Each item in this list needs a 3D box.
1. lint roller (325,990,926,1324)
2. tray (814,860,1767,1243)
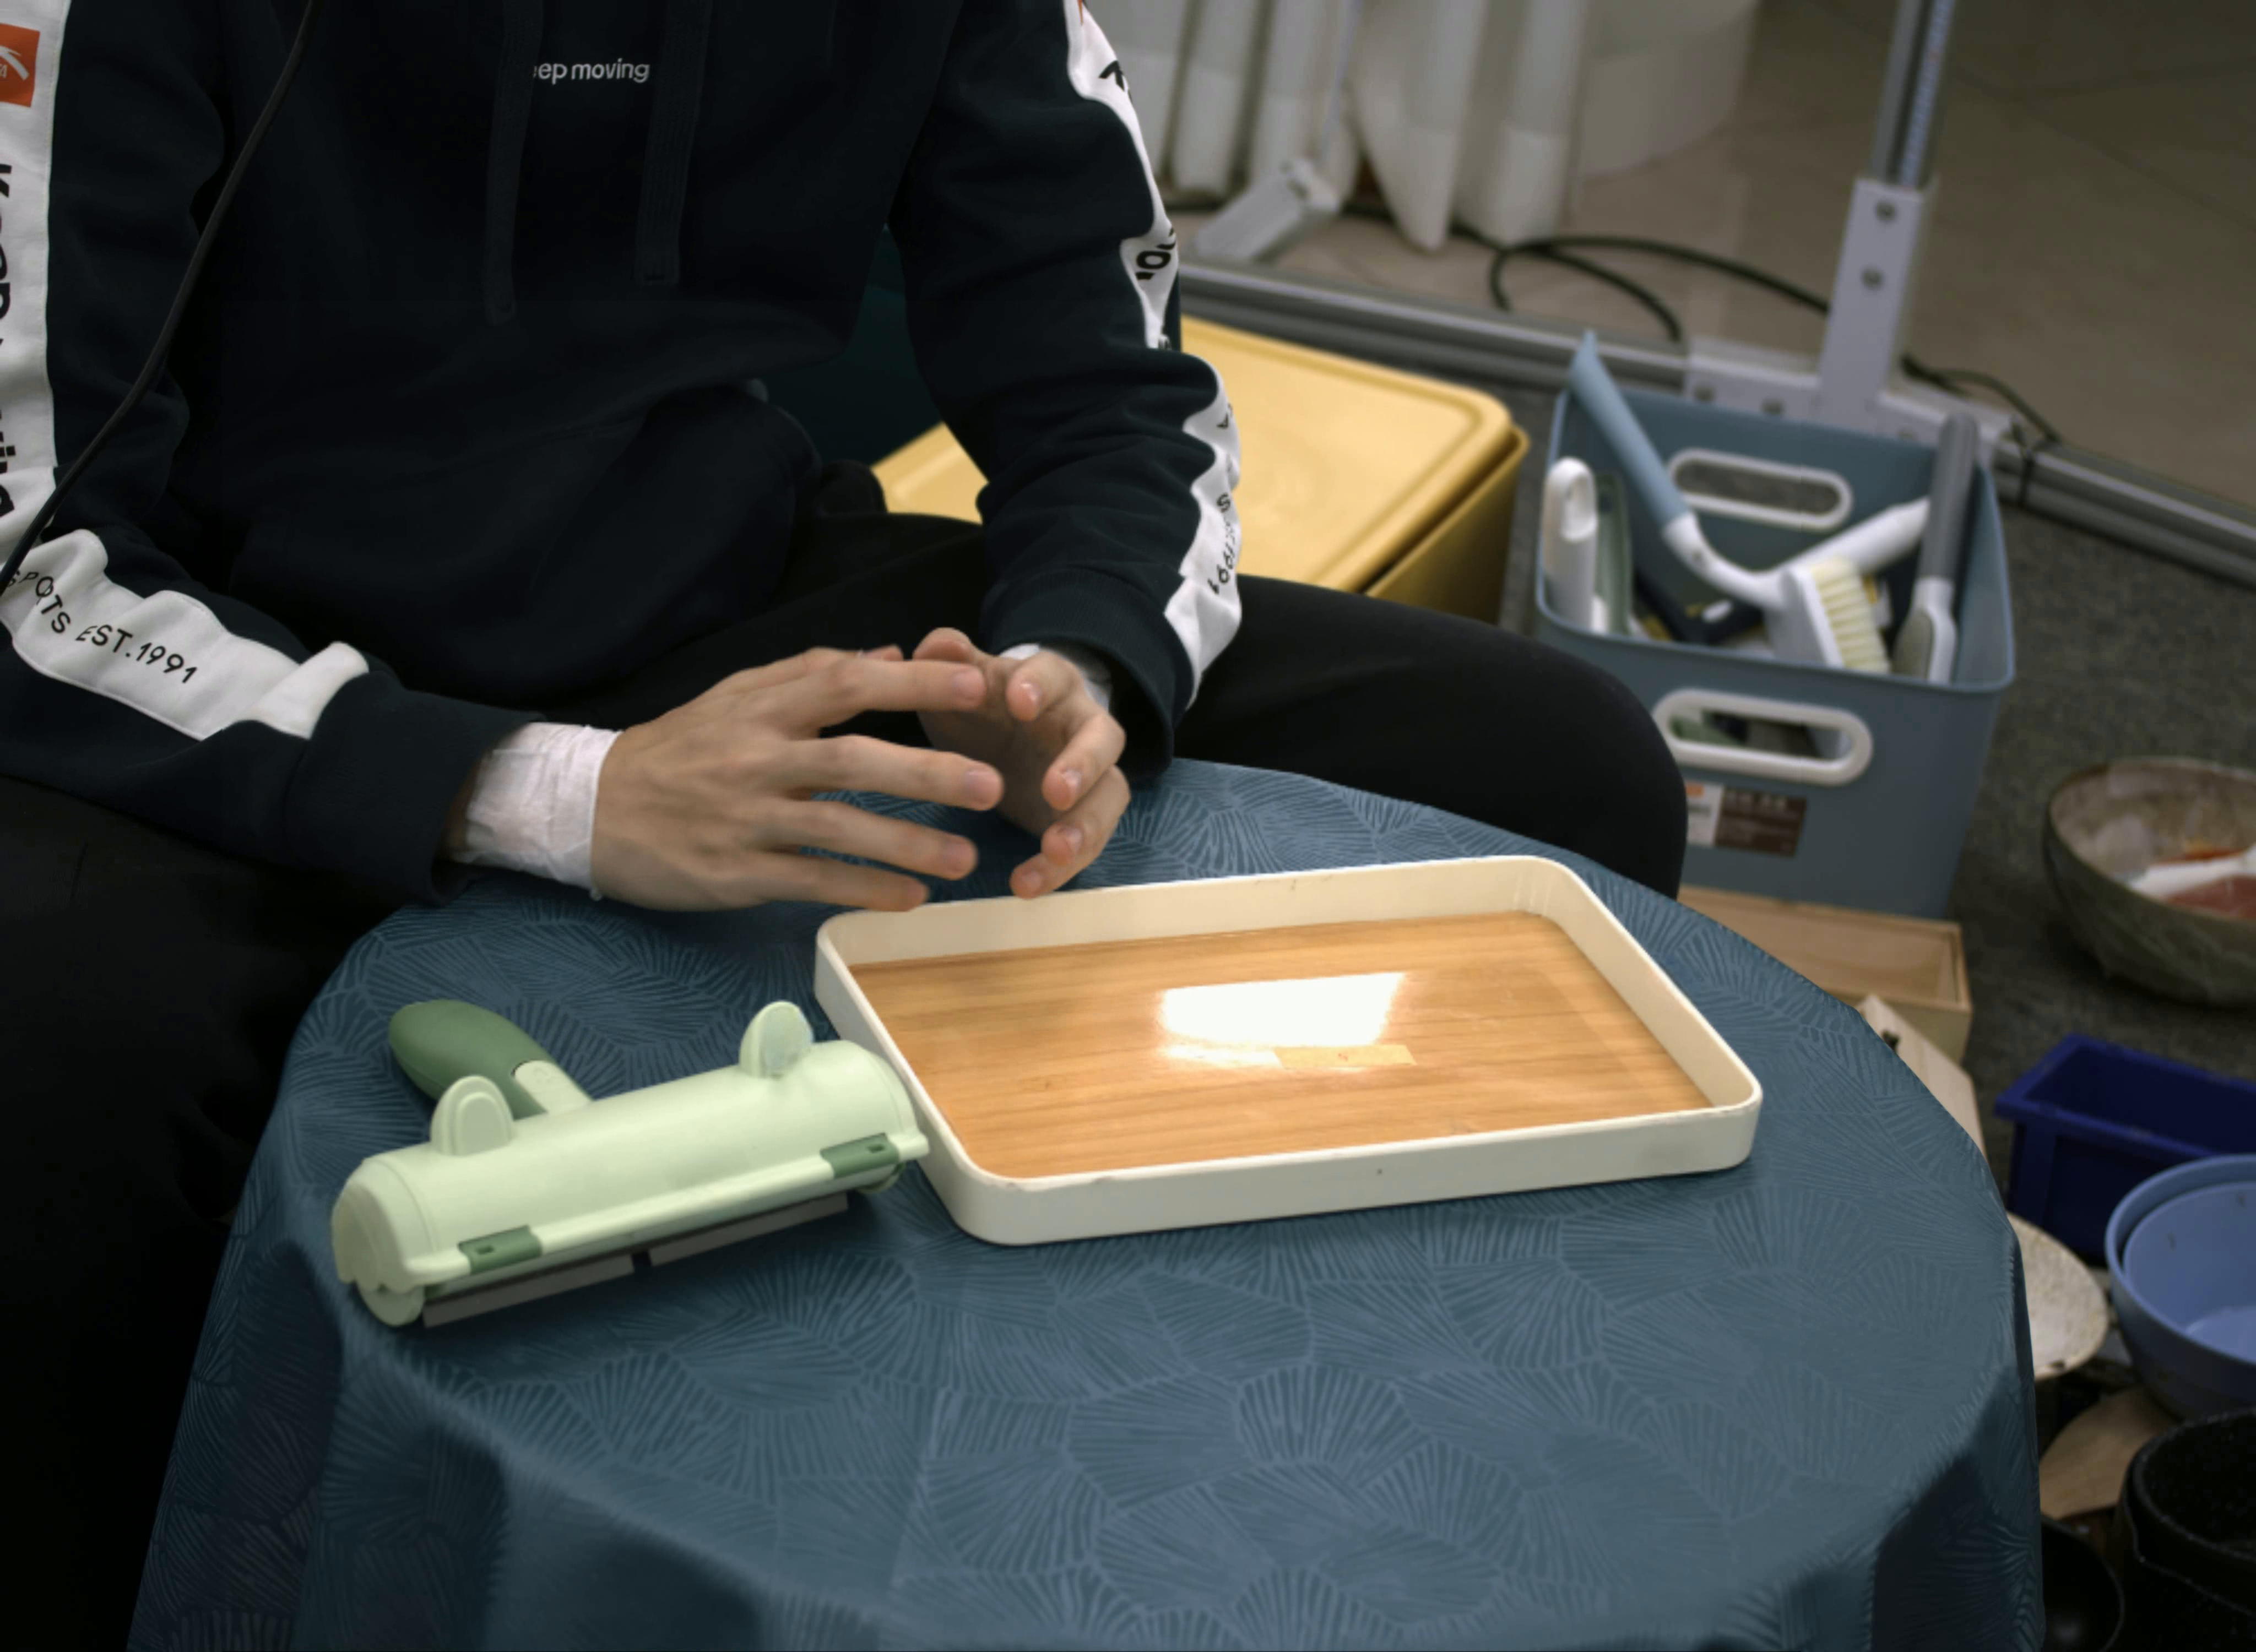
[{"bbox_3d":[-0.192,0.081,1.754,0.197,0.082,0.185,-13,37,-33],"label":"lint roller"},{"bbox_3d":[0.055,0.076,1.875,0.298,0.027,0.193,-4,28,-20],"label":"tray"}]
